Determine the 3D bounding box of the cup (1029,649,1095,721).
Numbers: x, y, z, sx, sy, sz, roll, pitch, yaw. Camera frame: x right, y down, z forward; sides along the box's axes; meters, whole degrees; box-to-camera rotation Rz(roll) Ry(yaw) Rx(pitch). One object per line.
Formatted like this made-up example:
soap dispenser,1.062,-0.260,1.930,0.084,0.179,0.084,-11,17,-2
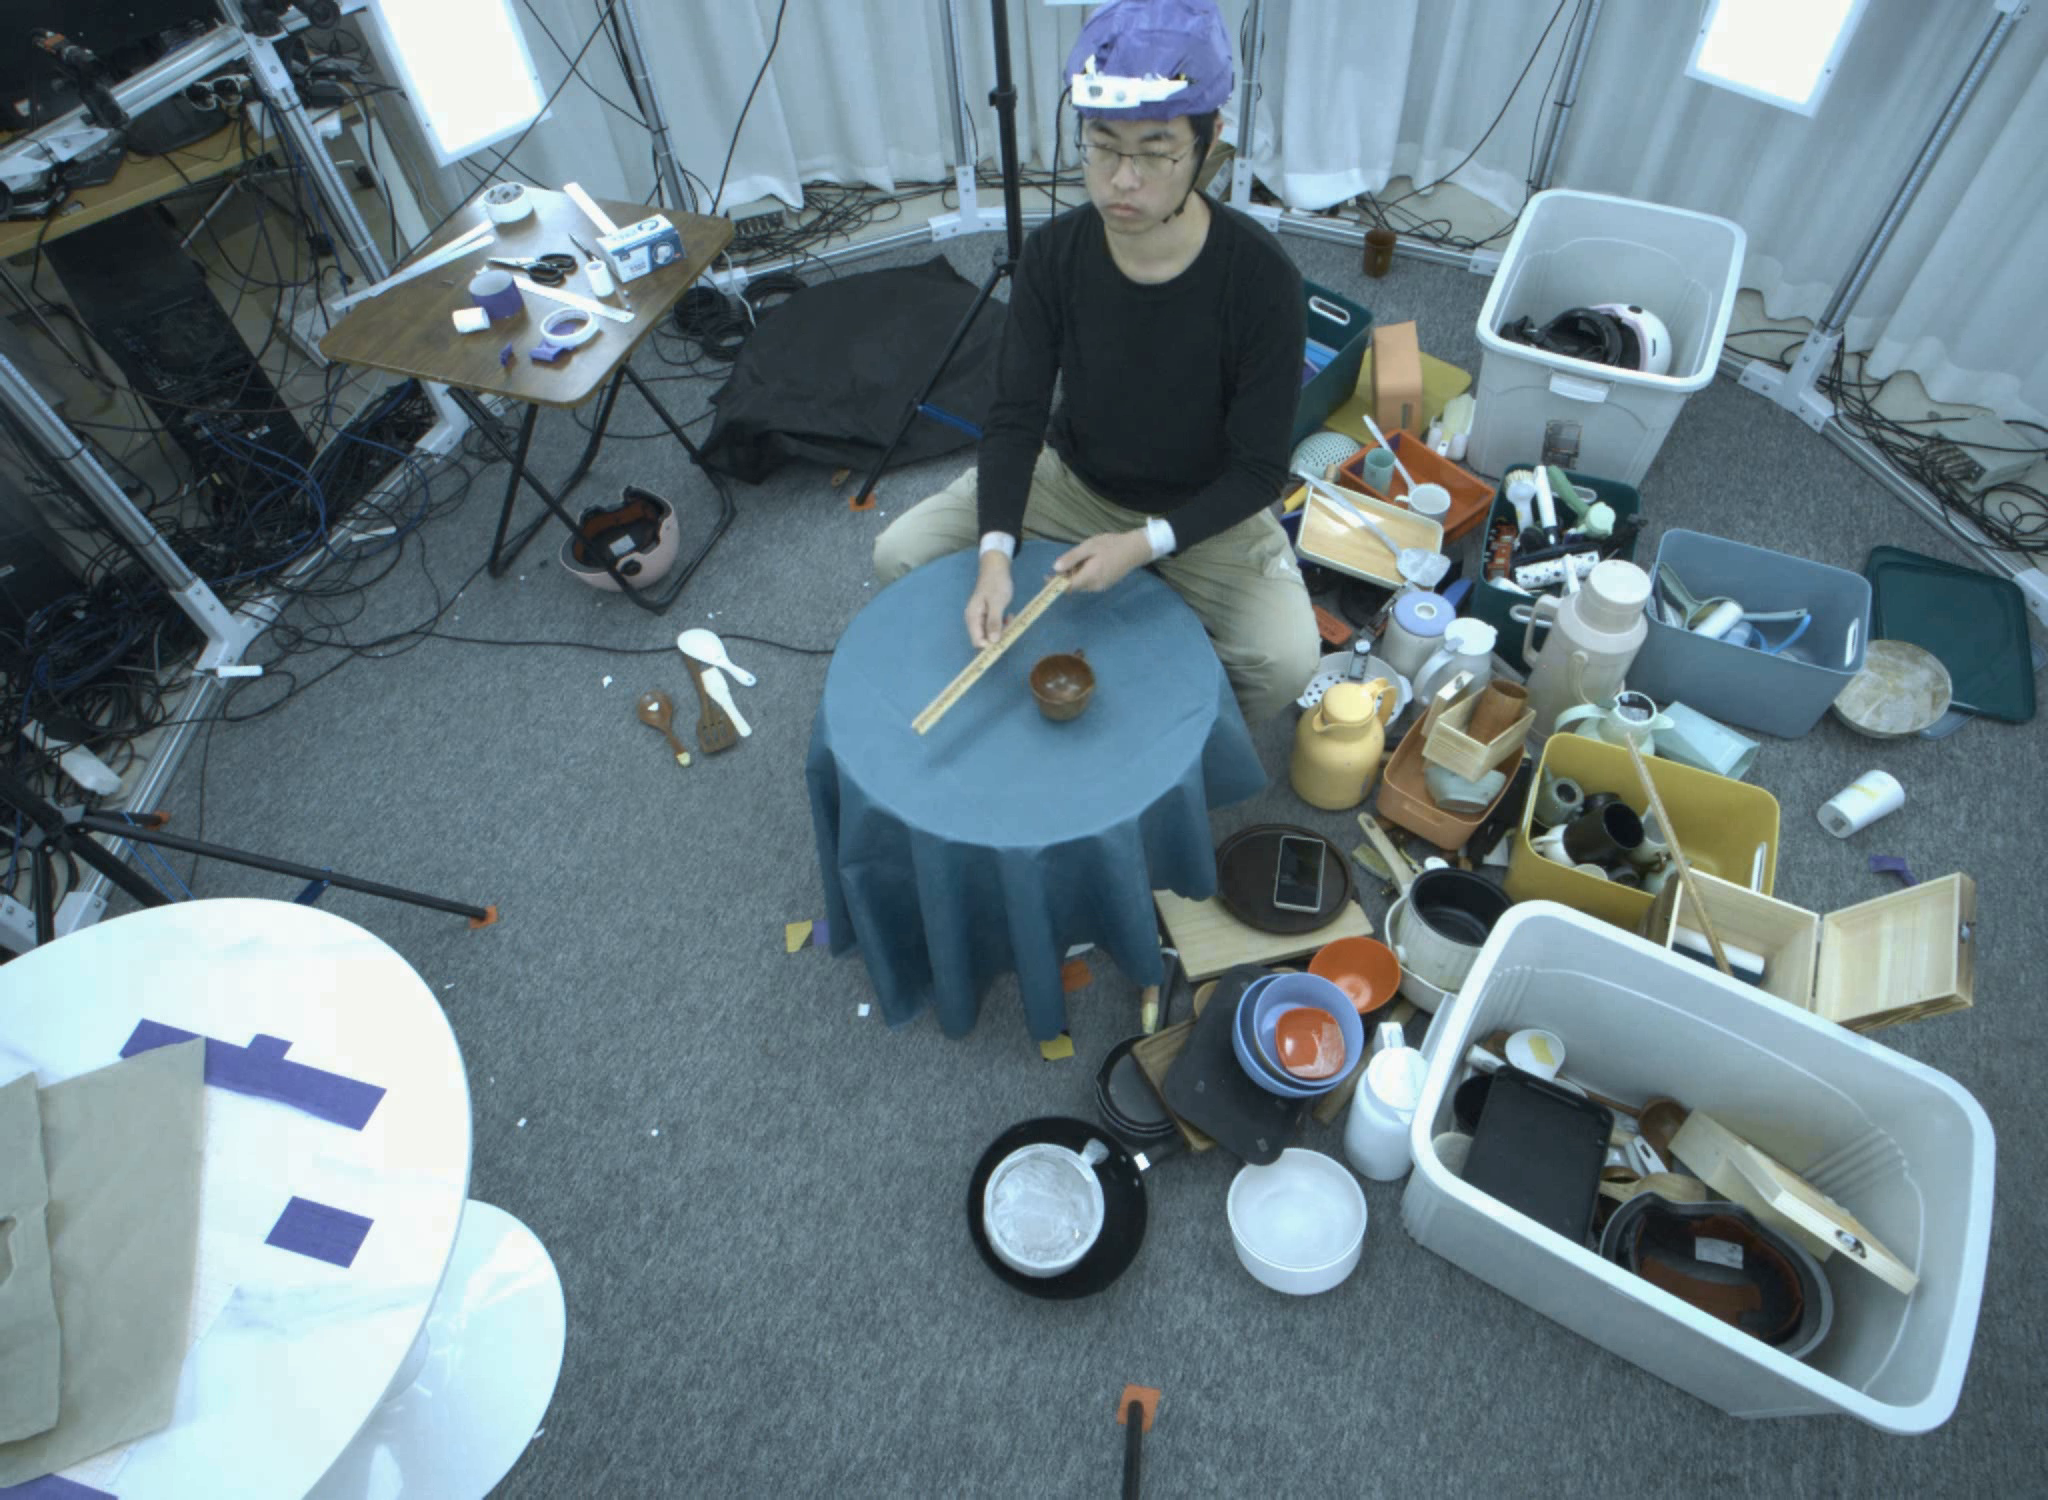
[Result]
cup,0.062,-0.095,1.813,0.095,0.068,0.119,18,56,17

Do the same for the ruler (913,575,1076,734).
ruler,-0.041,-0.146,1.792,0.027,0.022,0.333,39,71,15
